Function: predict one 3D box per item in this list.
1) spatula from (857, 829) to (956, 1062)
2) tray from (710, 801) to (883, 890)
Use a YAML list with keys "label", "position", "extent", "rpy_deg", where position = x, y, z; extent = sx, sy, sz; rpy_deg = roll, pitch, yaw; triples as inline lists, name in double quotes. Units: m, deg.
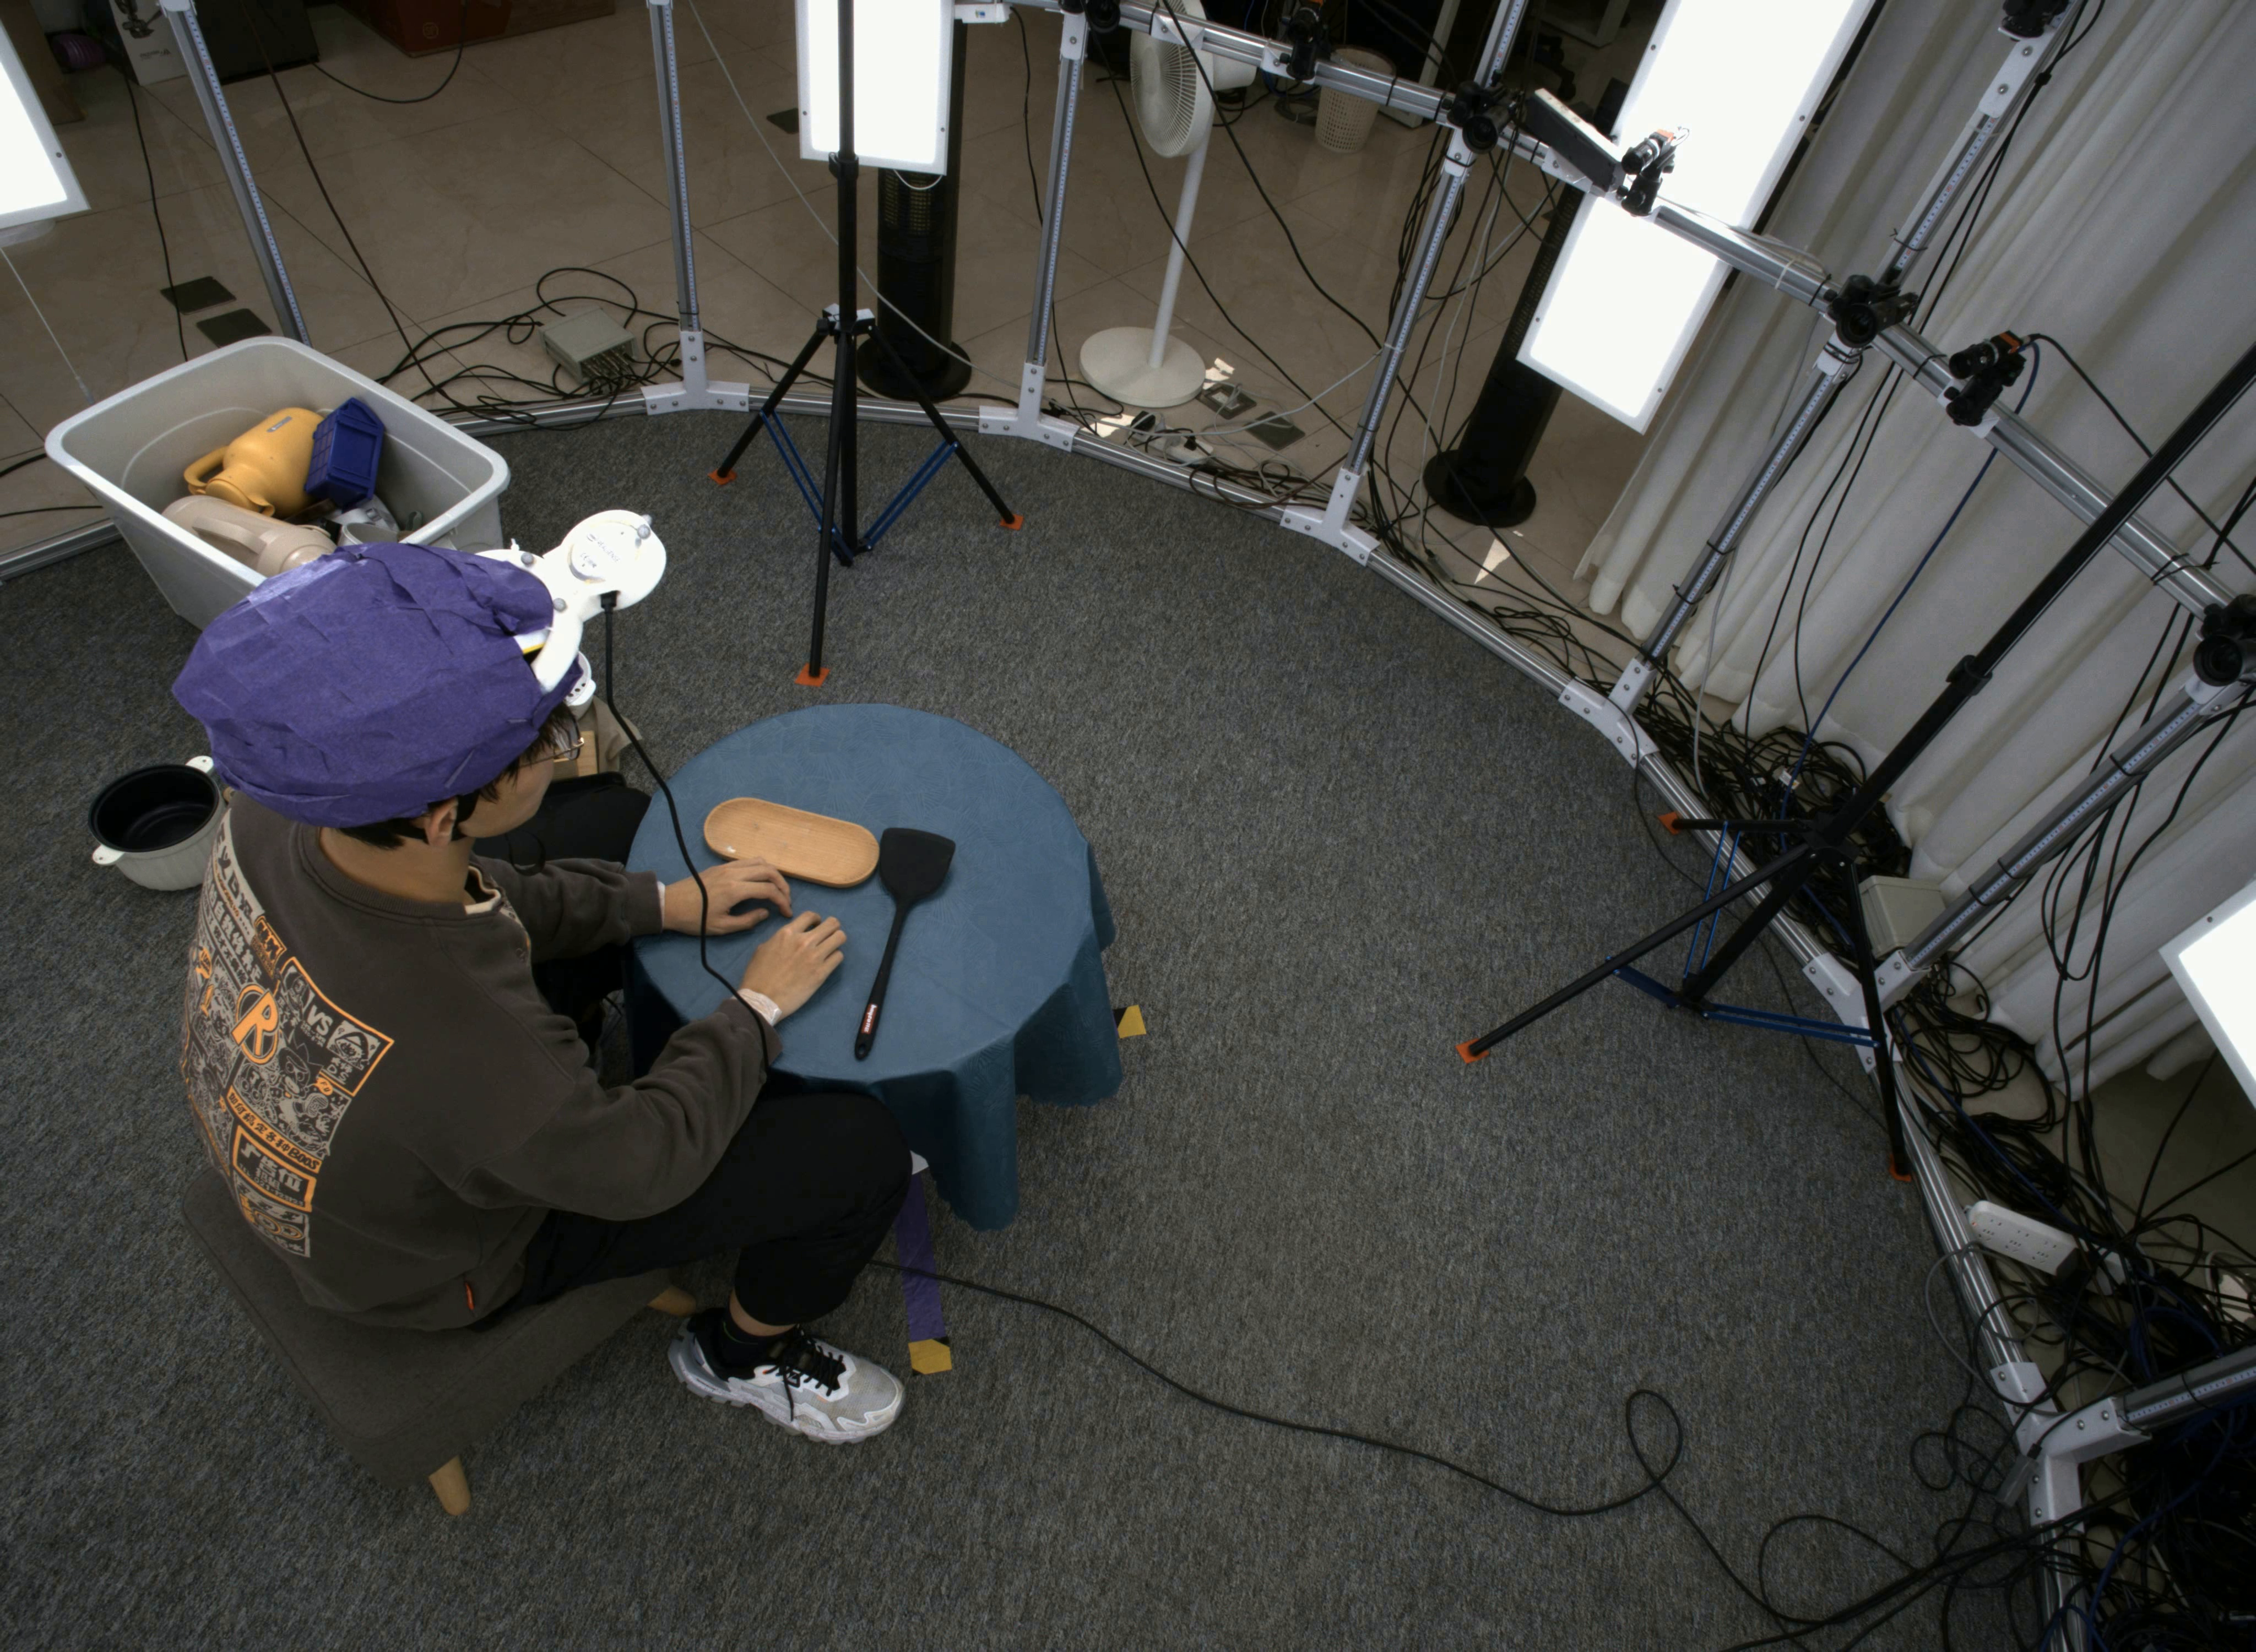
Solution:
- label: "spatula"
  position: [-0.296, 0.144, 1.641]
  extent: [0.099, 0.041, 0.321]
  rpy_deg: [11, 52, -3]
- label: "tray"
  position: [-0.437, 0.024, 1.708]
  extent: [0.230, 0.021, 0.100]
  rpy_deg: [15, 53, -4]
